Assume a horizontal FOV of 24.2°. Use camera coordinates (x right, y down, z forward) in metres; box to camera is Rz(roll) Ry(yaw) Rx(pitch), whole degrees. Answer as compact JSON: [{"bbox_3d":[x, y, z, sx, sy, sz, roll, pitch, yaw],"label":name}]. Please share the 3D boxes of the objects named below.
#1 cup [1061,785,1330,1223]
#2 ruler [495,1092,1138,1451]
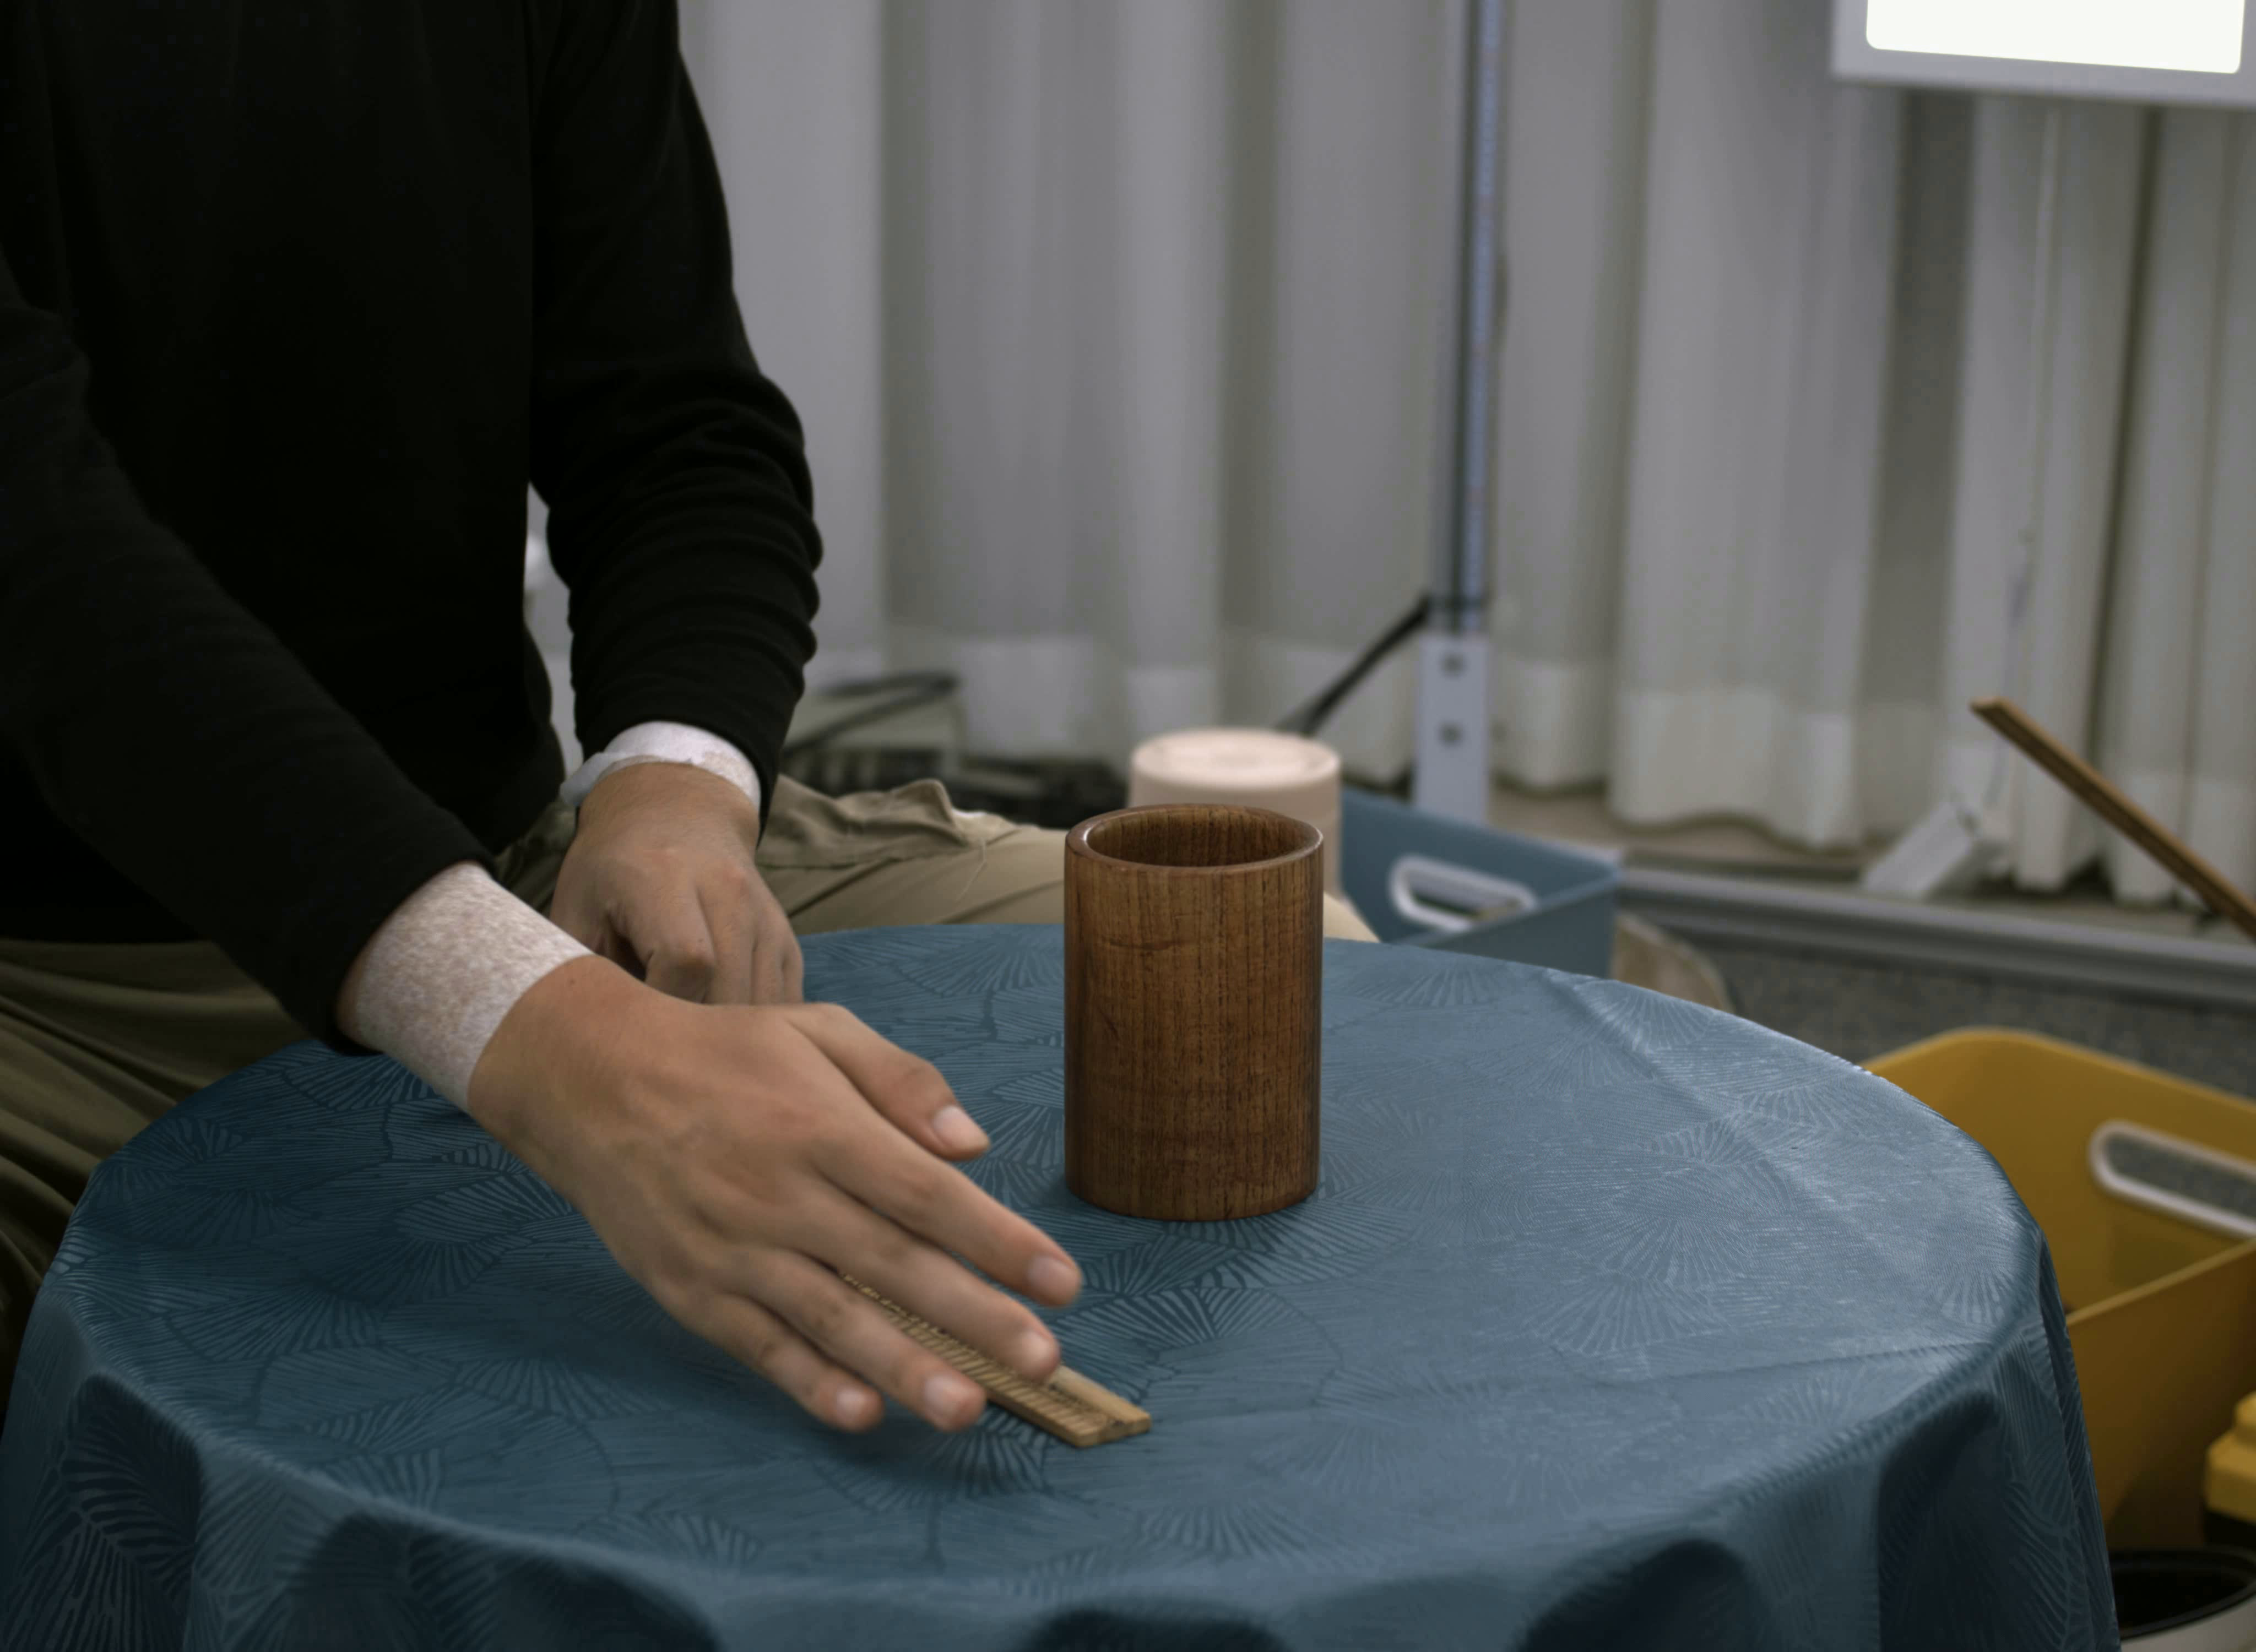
[{"bbox_3d":[0.020,0.054,1.614,0.087,0.119,0.087,1,15,0],"label":"cup"},{"bbox_3d":[-0.100,0.125,1.553,0.027,0.022,0.327,-2,14,-35],"label":"ruler"}]
